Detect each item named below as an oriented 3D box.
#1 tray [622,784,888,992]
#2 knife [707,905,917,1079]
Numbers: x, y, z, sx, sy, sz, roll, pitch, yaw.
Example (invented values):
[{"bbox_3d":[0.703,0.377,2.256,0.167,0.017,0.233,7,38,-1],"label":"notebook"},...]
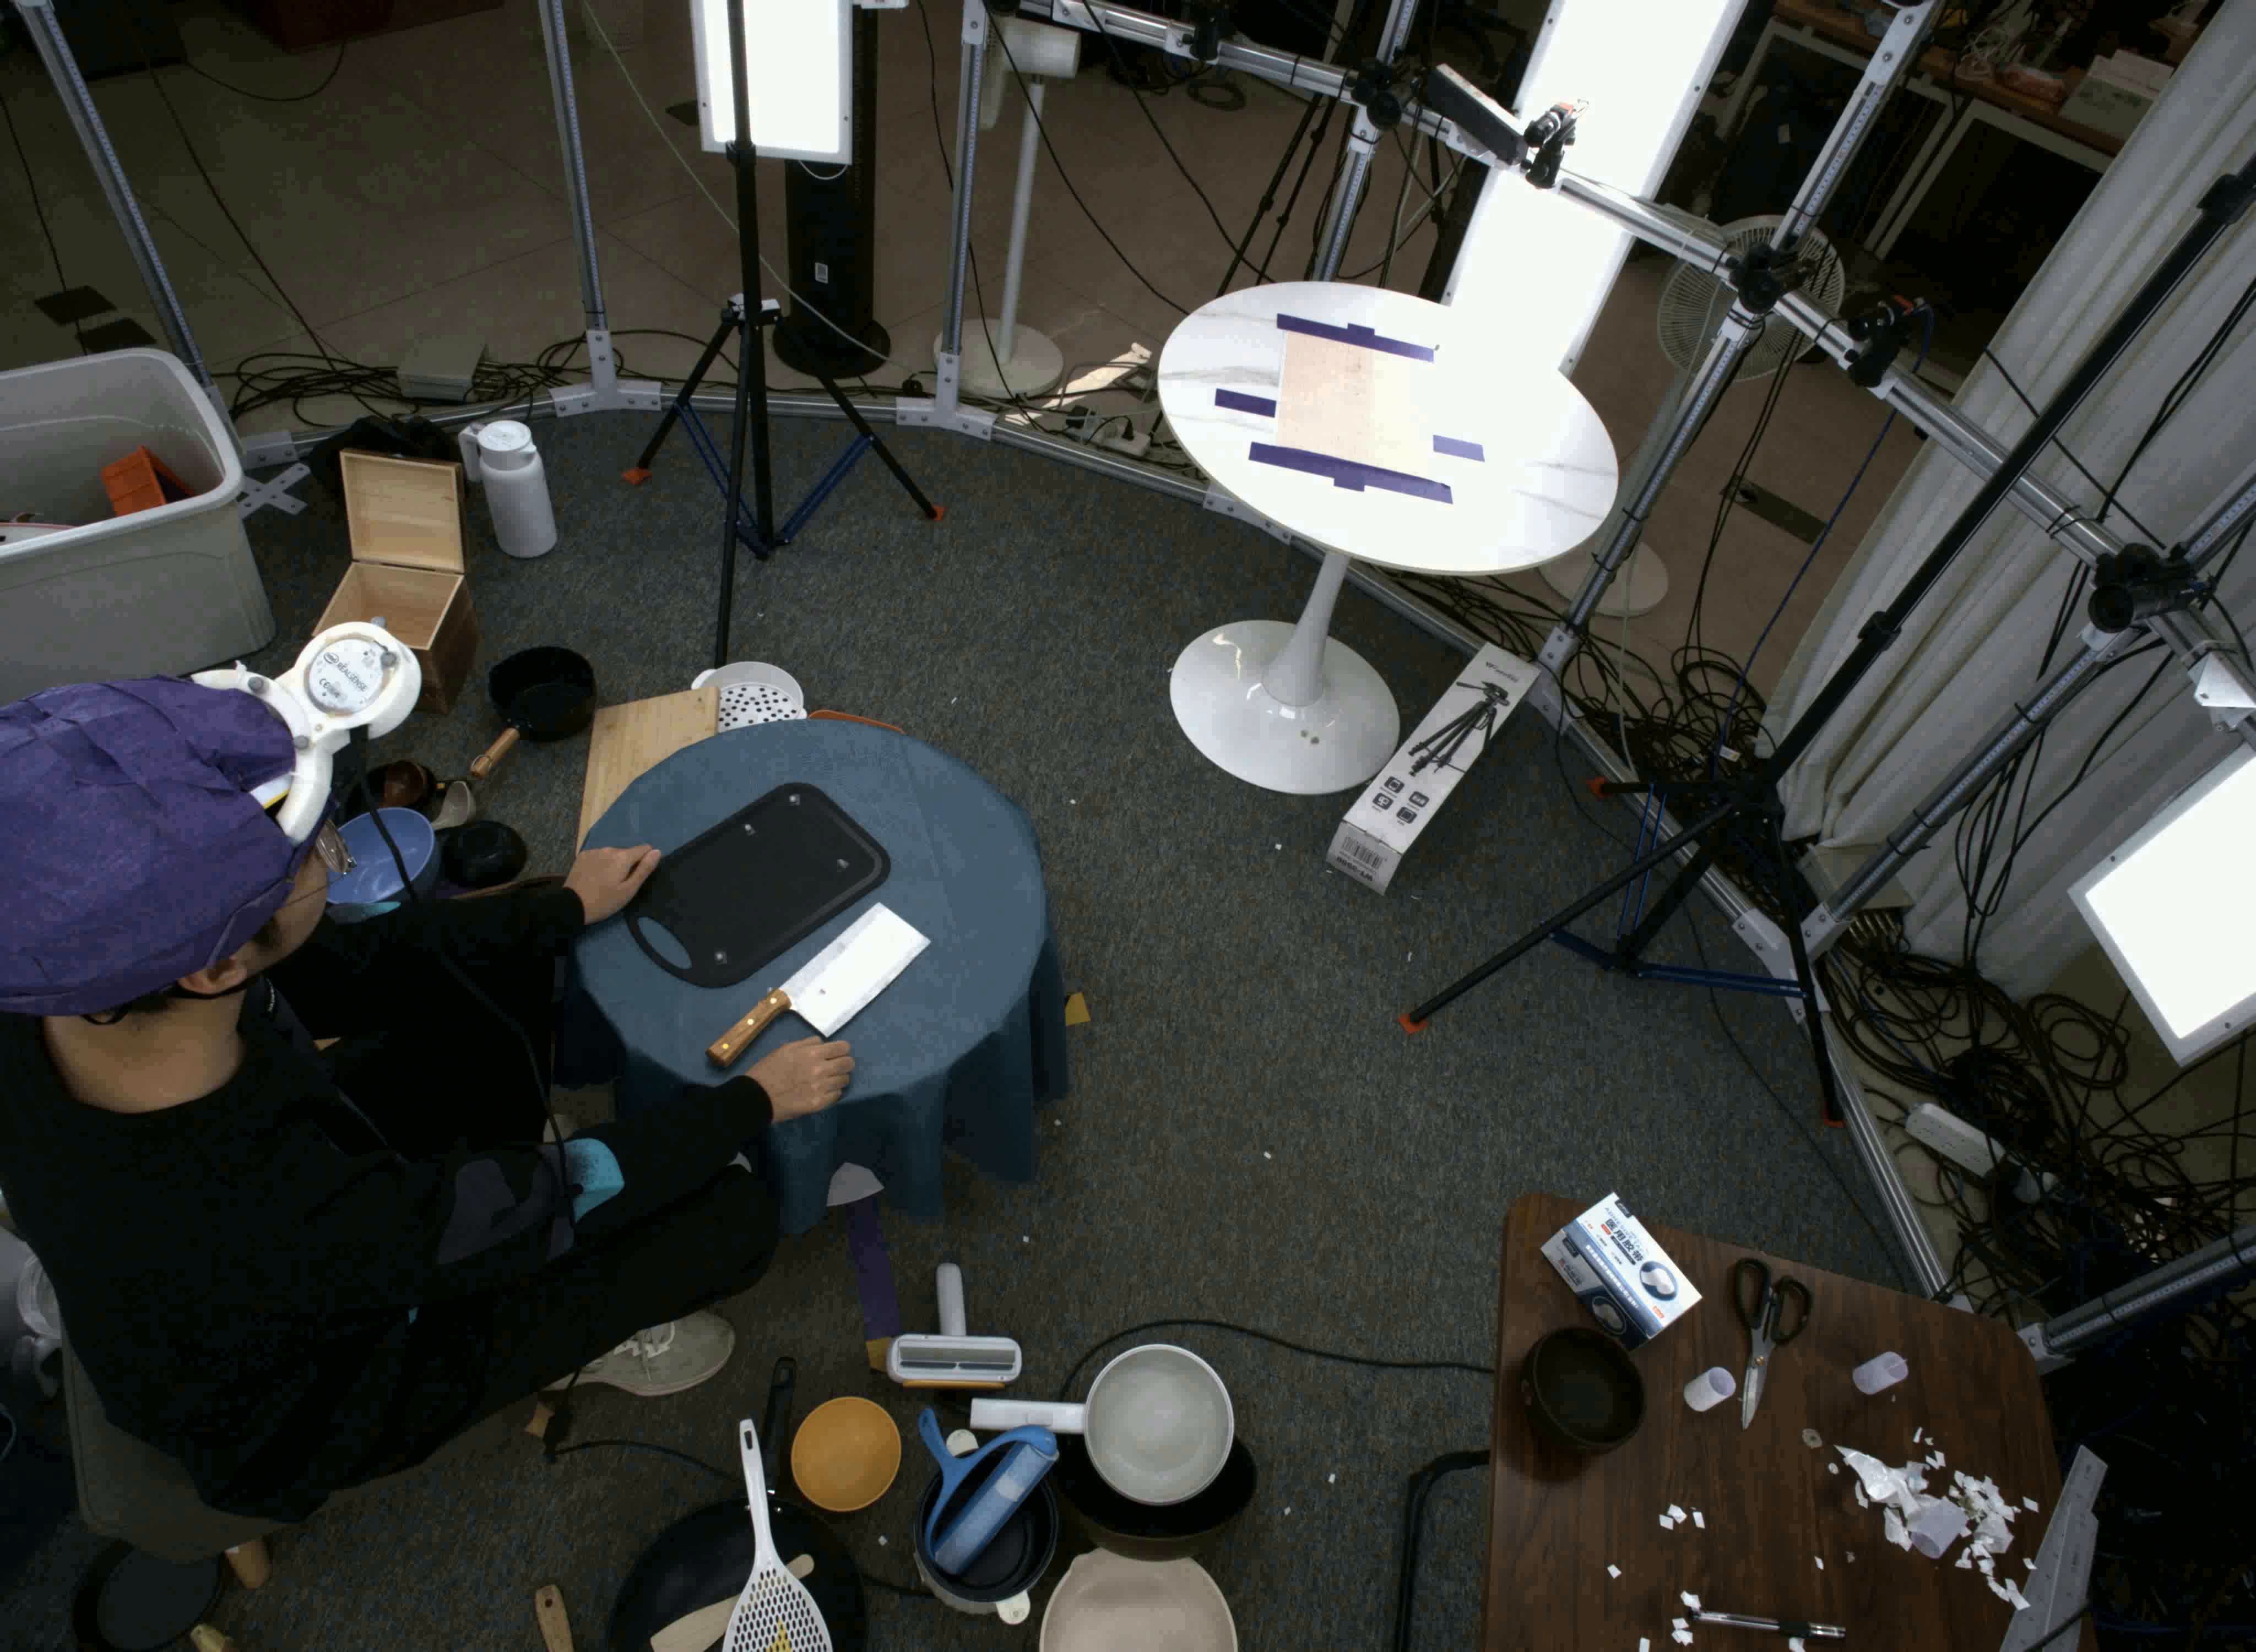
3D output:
[{"bbox_3d":[-0.476,0.073,1.640,0.206,0.010,0.326,41,54,16],"label":"tray"},{"bbox_3d":[-0.370,0.205,1.565,0.091,0.021,0.305,36,51,11],"label":"knife"}]
